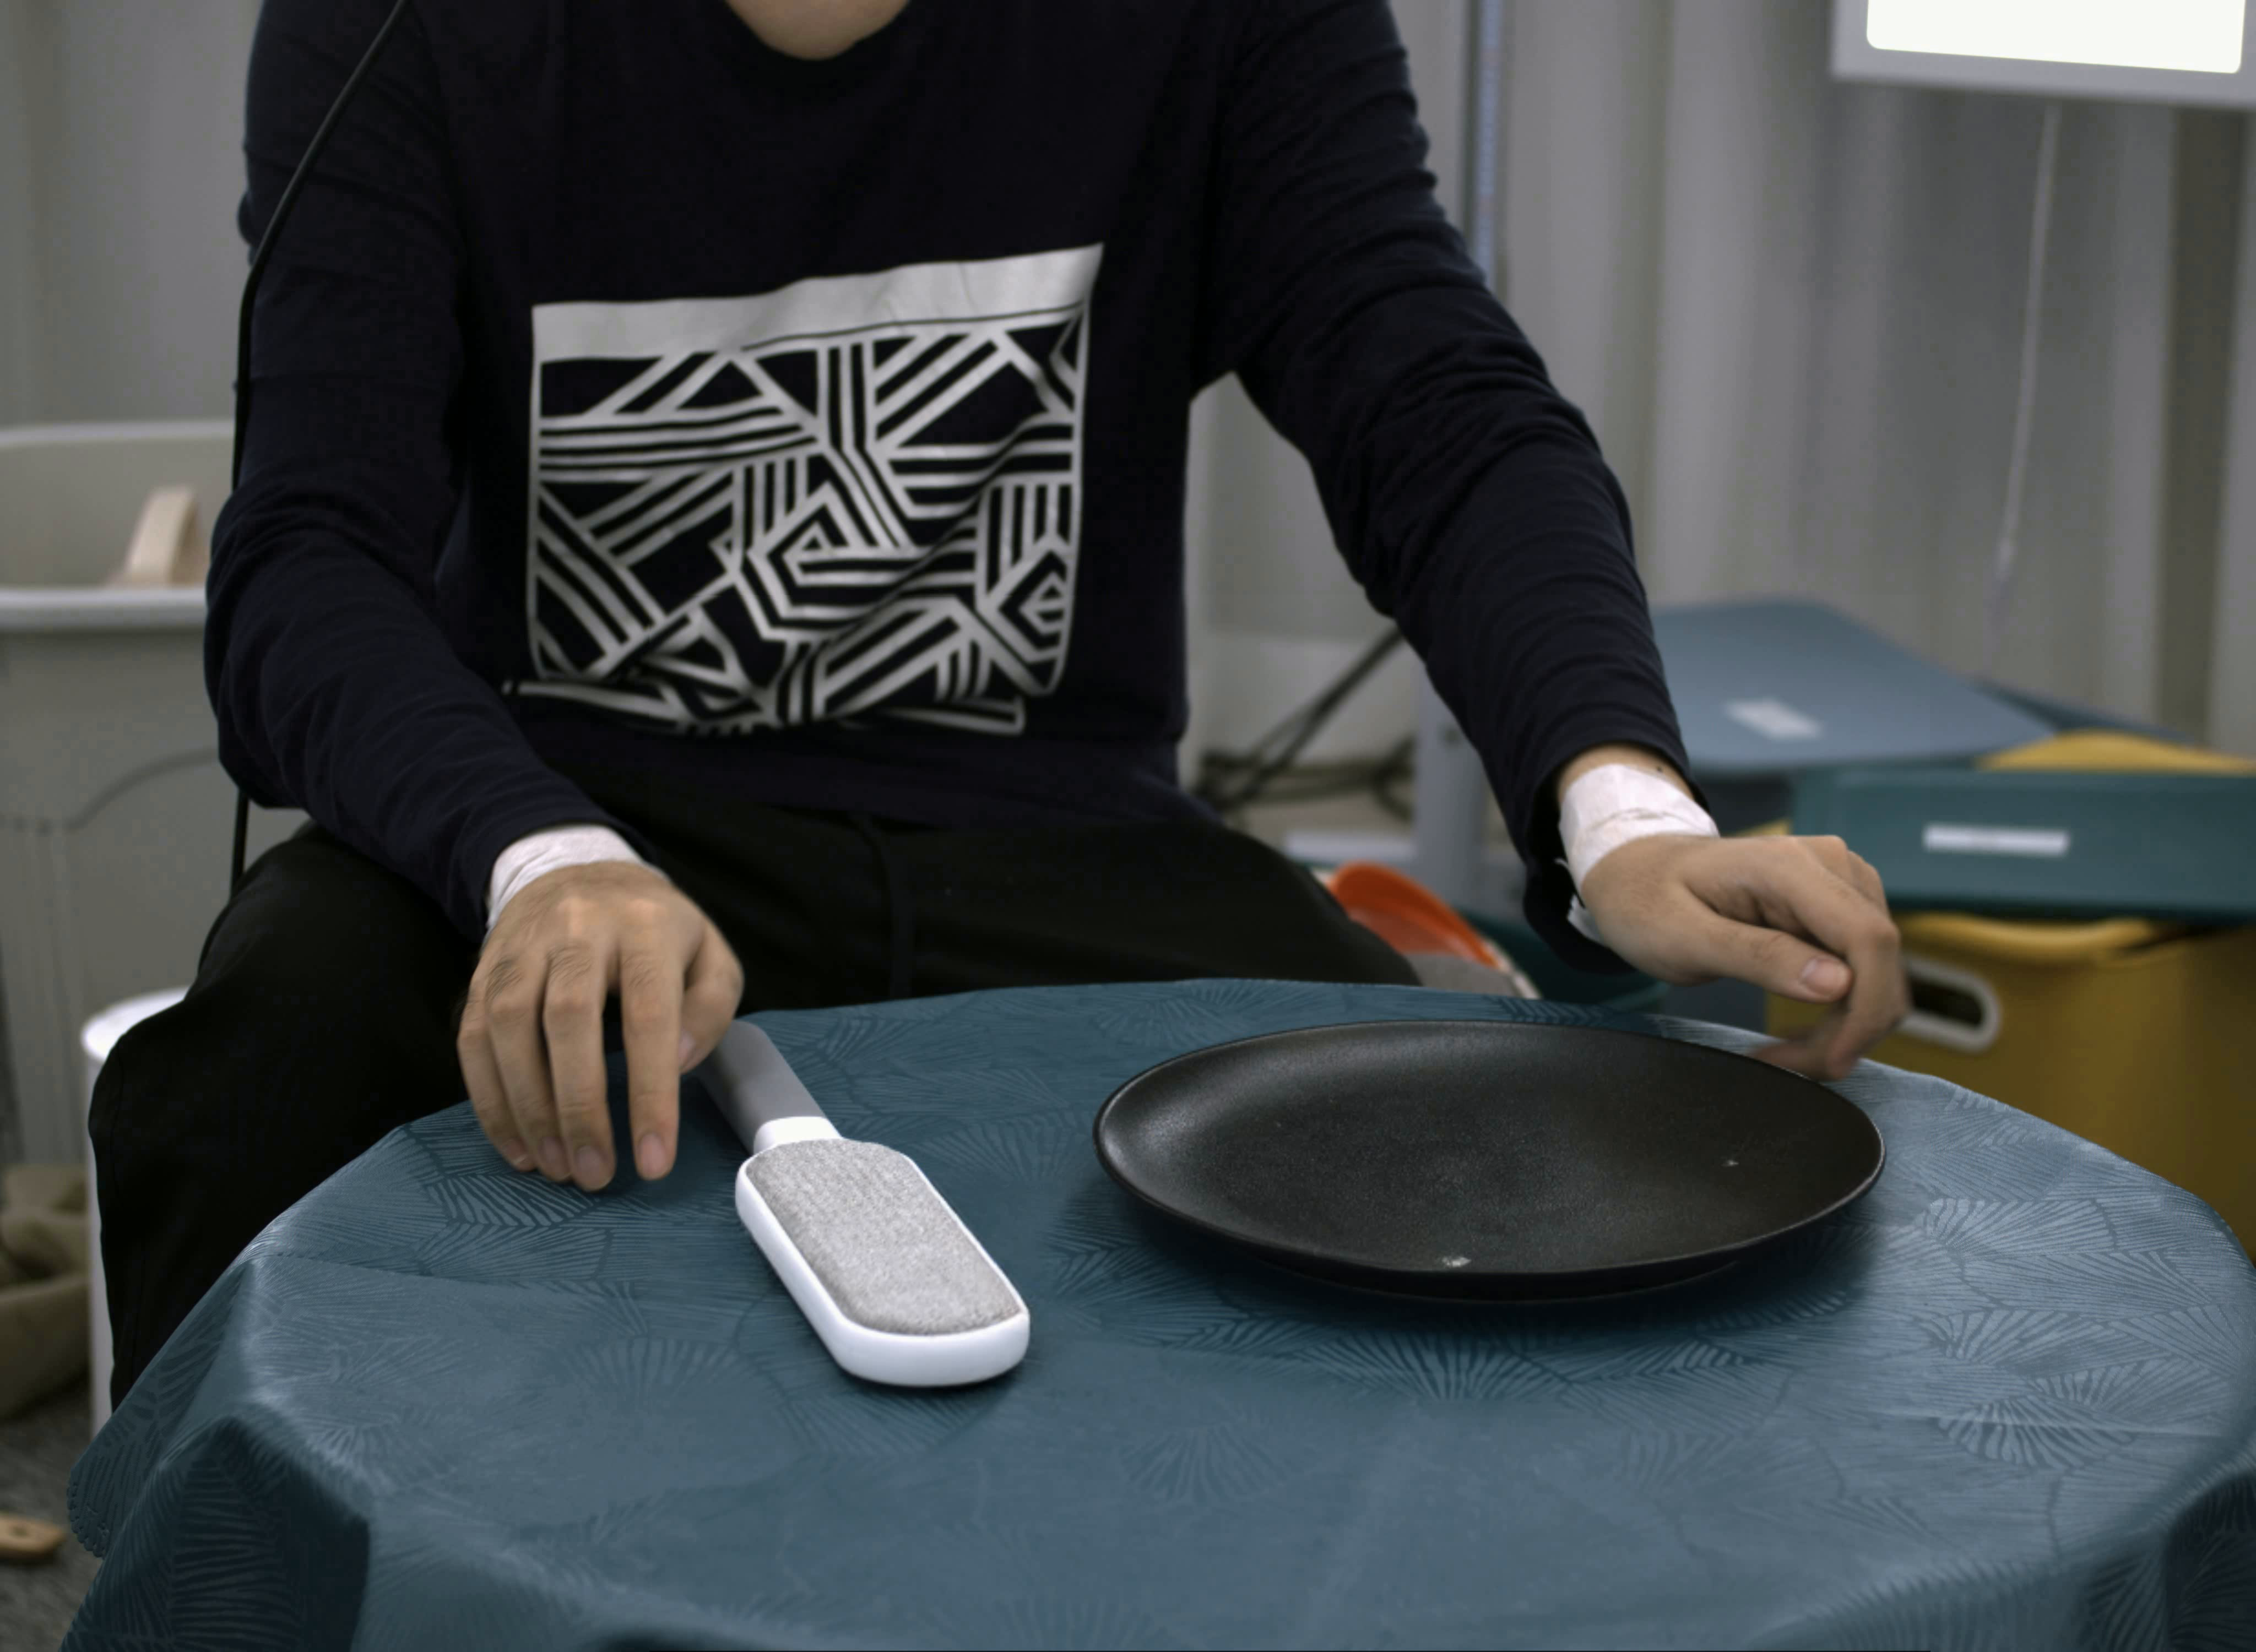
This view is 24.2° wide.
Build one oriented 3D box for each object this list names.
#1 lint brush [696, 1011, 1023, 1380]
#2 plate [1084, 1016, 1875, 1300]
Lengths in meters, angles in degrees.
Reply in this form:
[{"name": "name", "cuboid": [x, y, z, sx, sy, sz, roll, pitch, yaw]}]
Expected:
[{"name": "lint brush", "cuboid": [-0.089, 0.107, 1.591, 0.060, 0.021, 0.306, -9, 17, -14]}, {"name": "plate", "cuboid": [0.107, 0.104, 1.616, 0.243, 0.023, 0.243, 1, 15, 0]}]
